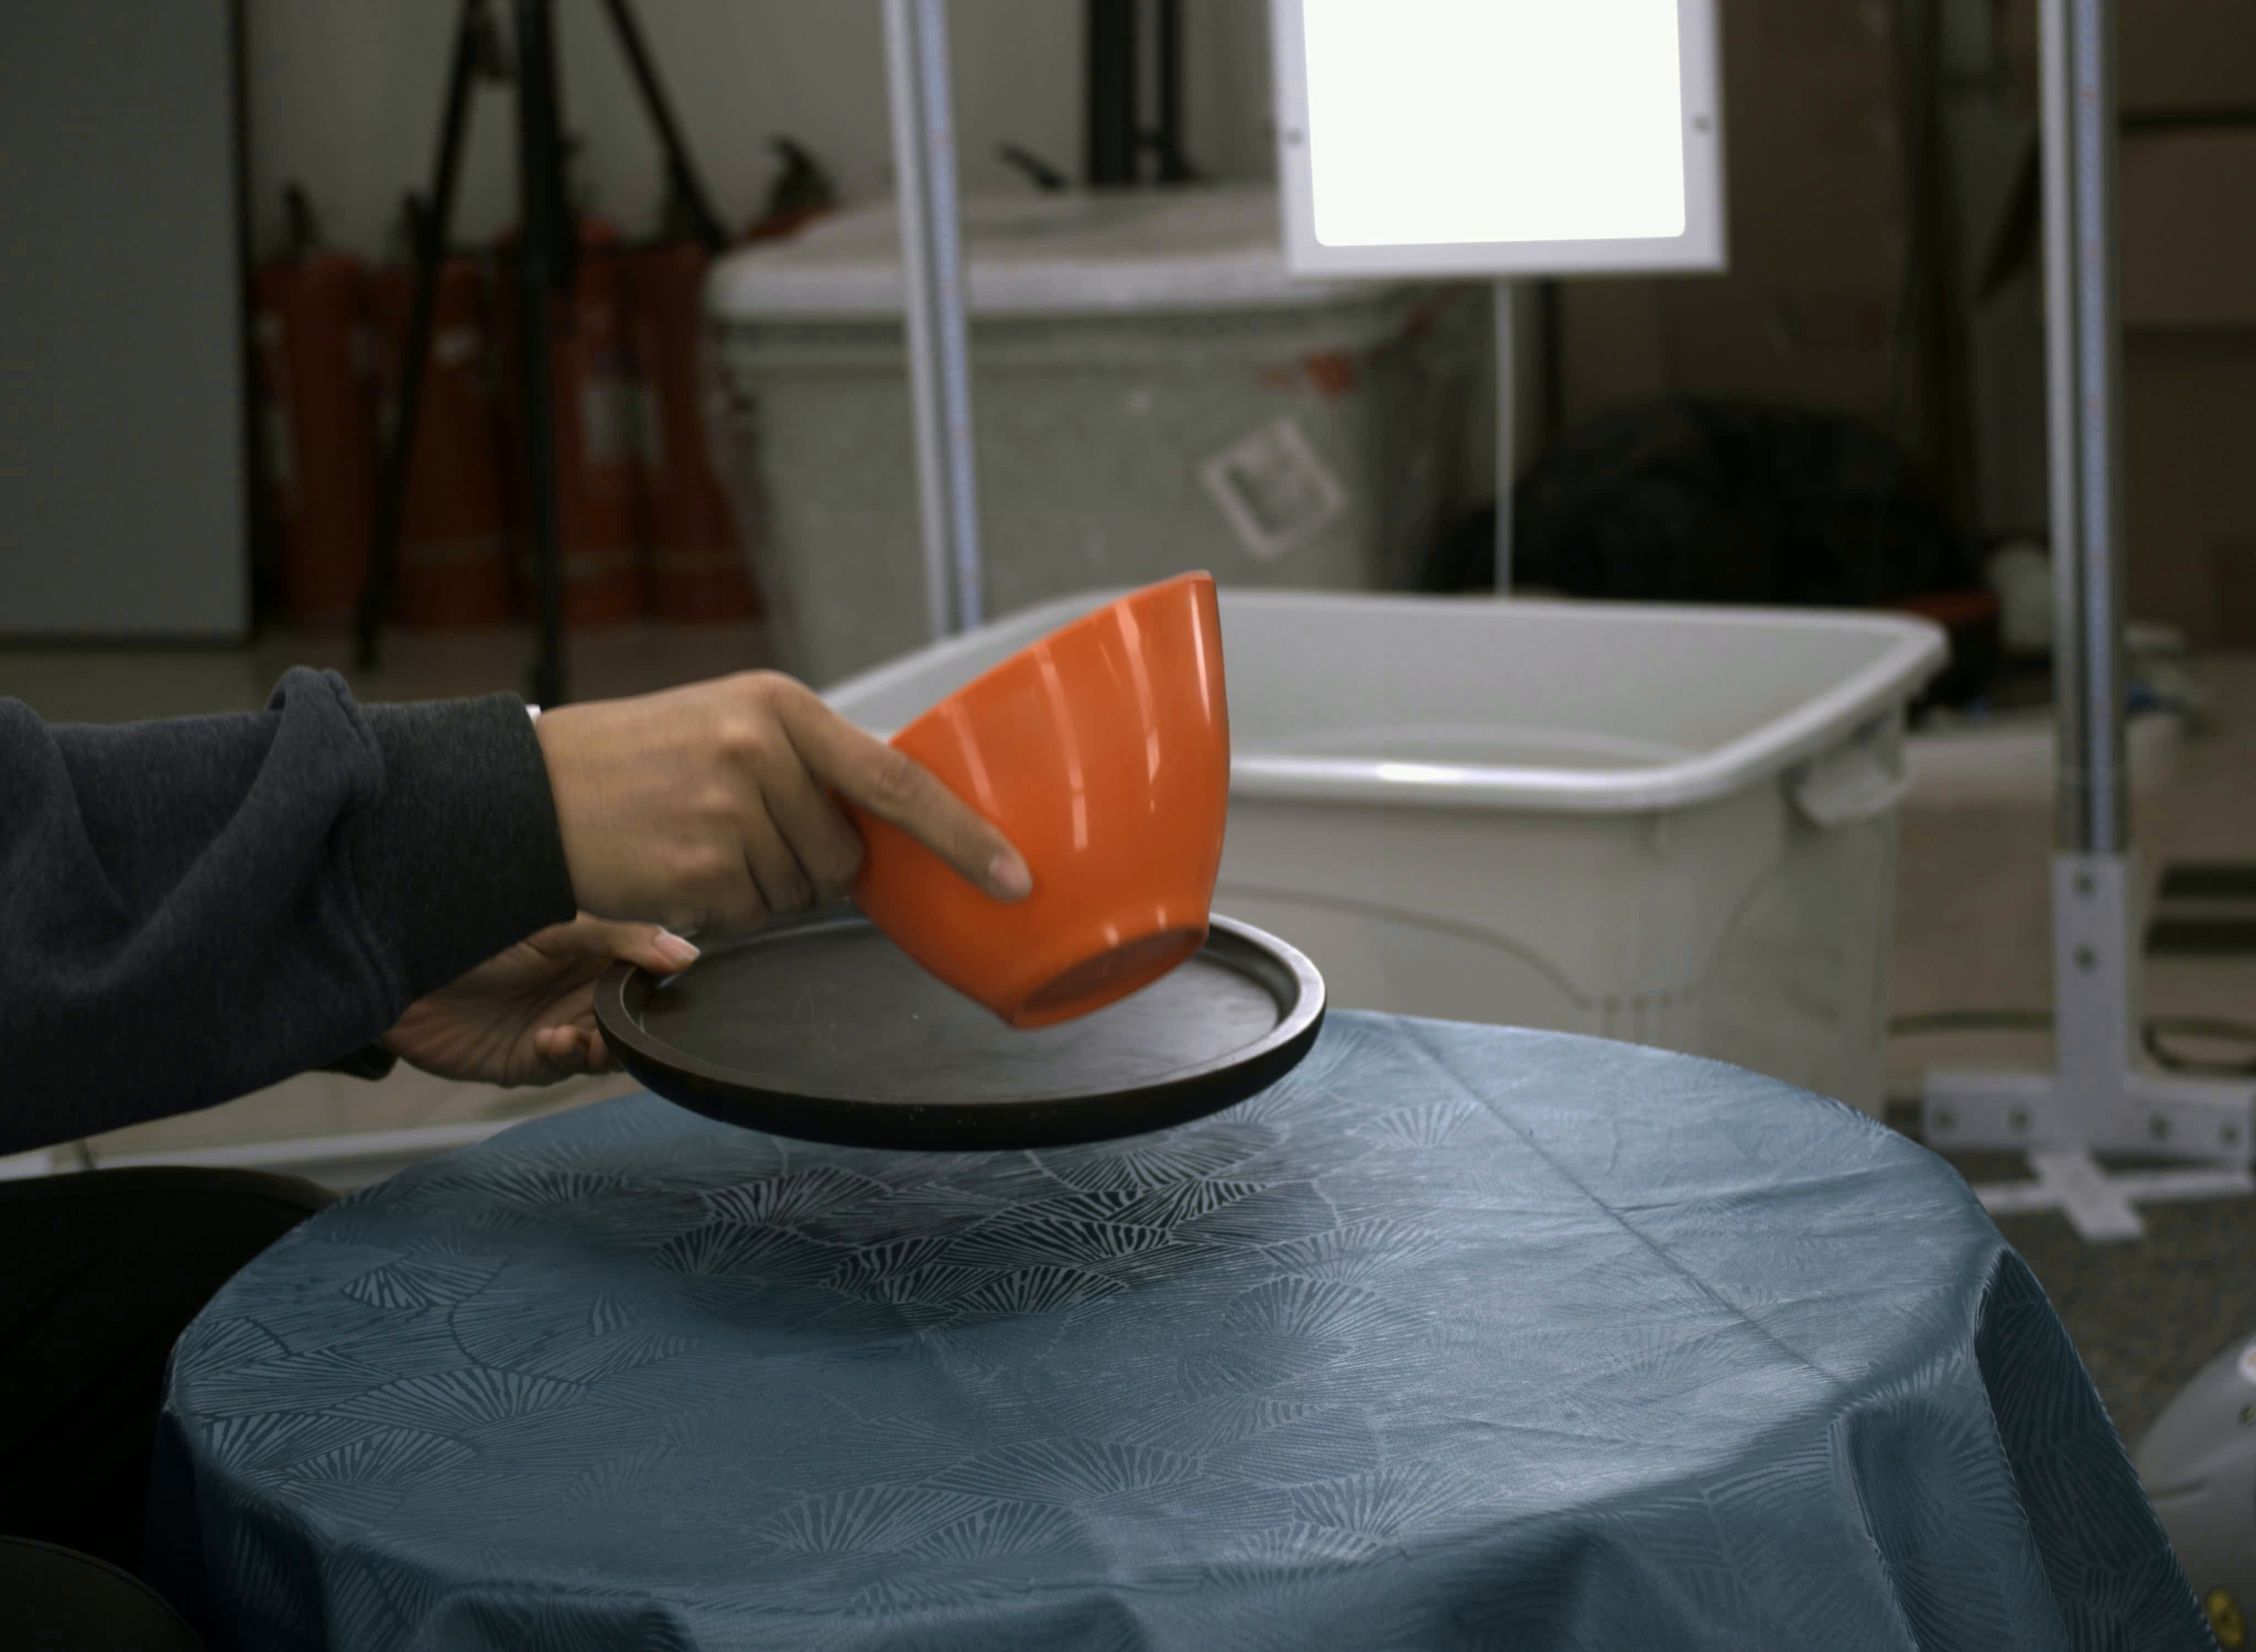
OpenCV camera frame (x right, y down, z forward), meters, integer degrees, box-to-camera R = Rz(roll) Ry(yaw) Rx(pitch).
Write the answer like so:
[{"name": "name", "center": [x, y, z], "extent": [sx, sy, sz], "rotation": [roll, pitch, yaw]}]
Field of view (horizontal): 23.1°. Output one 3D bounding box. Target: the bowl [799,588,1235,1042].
[{"name": "bowl", "center": [-0.018, 0.003, 1.654], "extent": [0.147, 0.105, 0.148], "rotation": [-21, -13, -7]}]

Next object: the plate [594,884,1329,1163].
[{"name": "plate", "center": [-0.057, 0.067, 1.893], "extent": [0.254, 0.029, 0.254], "rotation": [-1, 17, -1]}]
